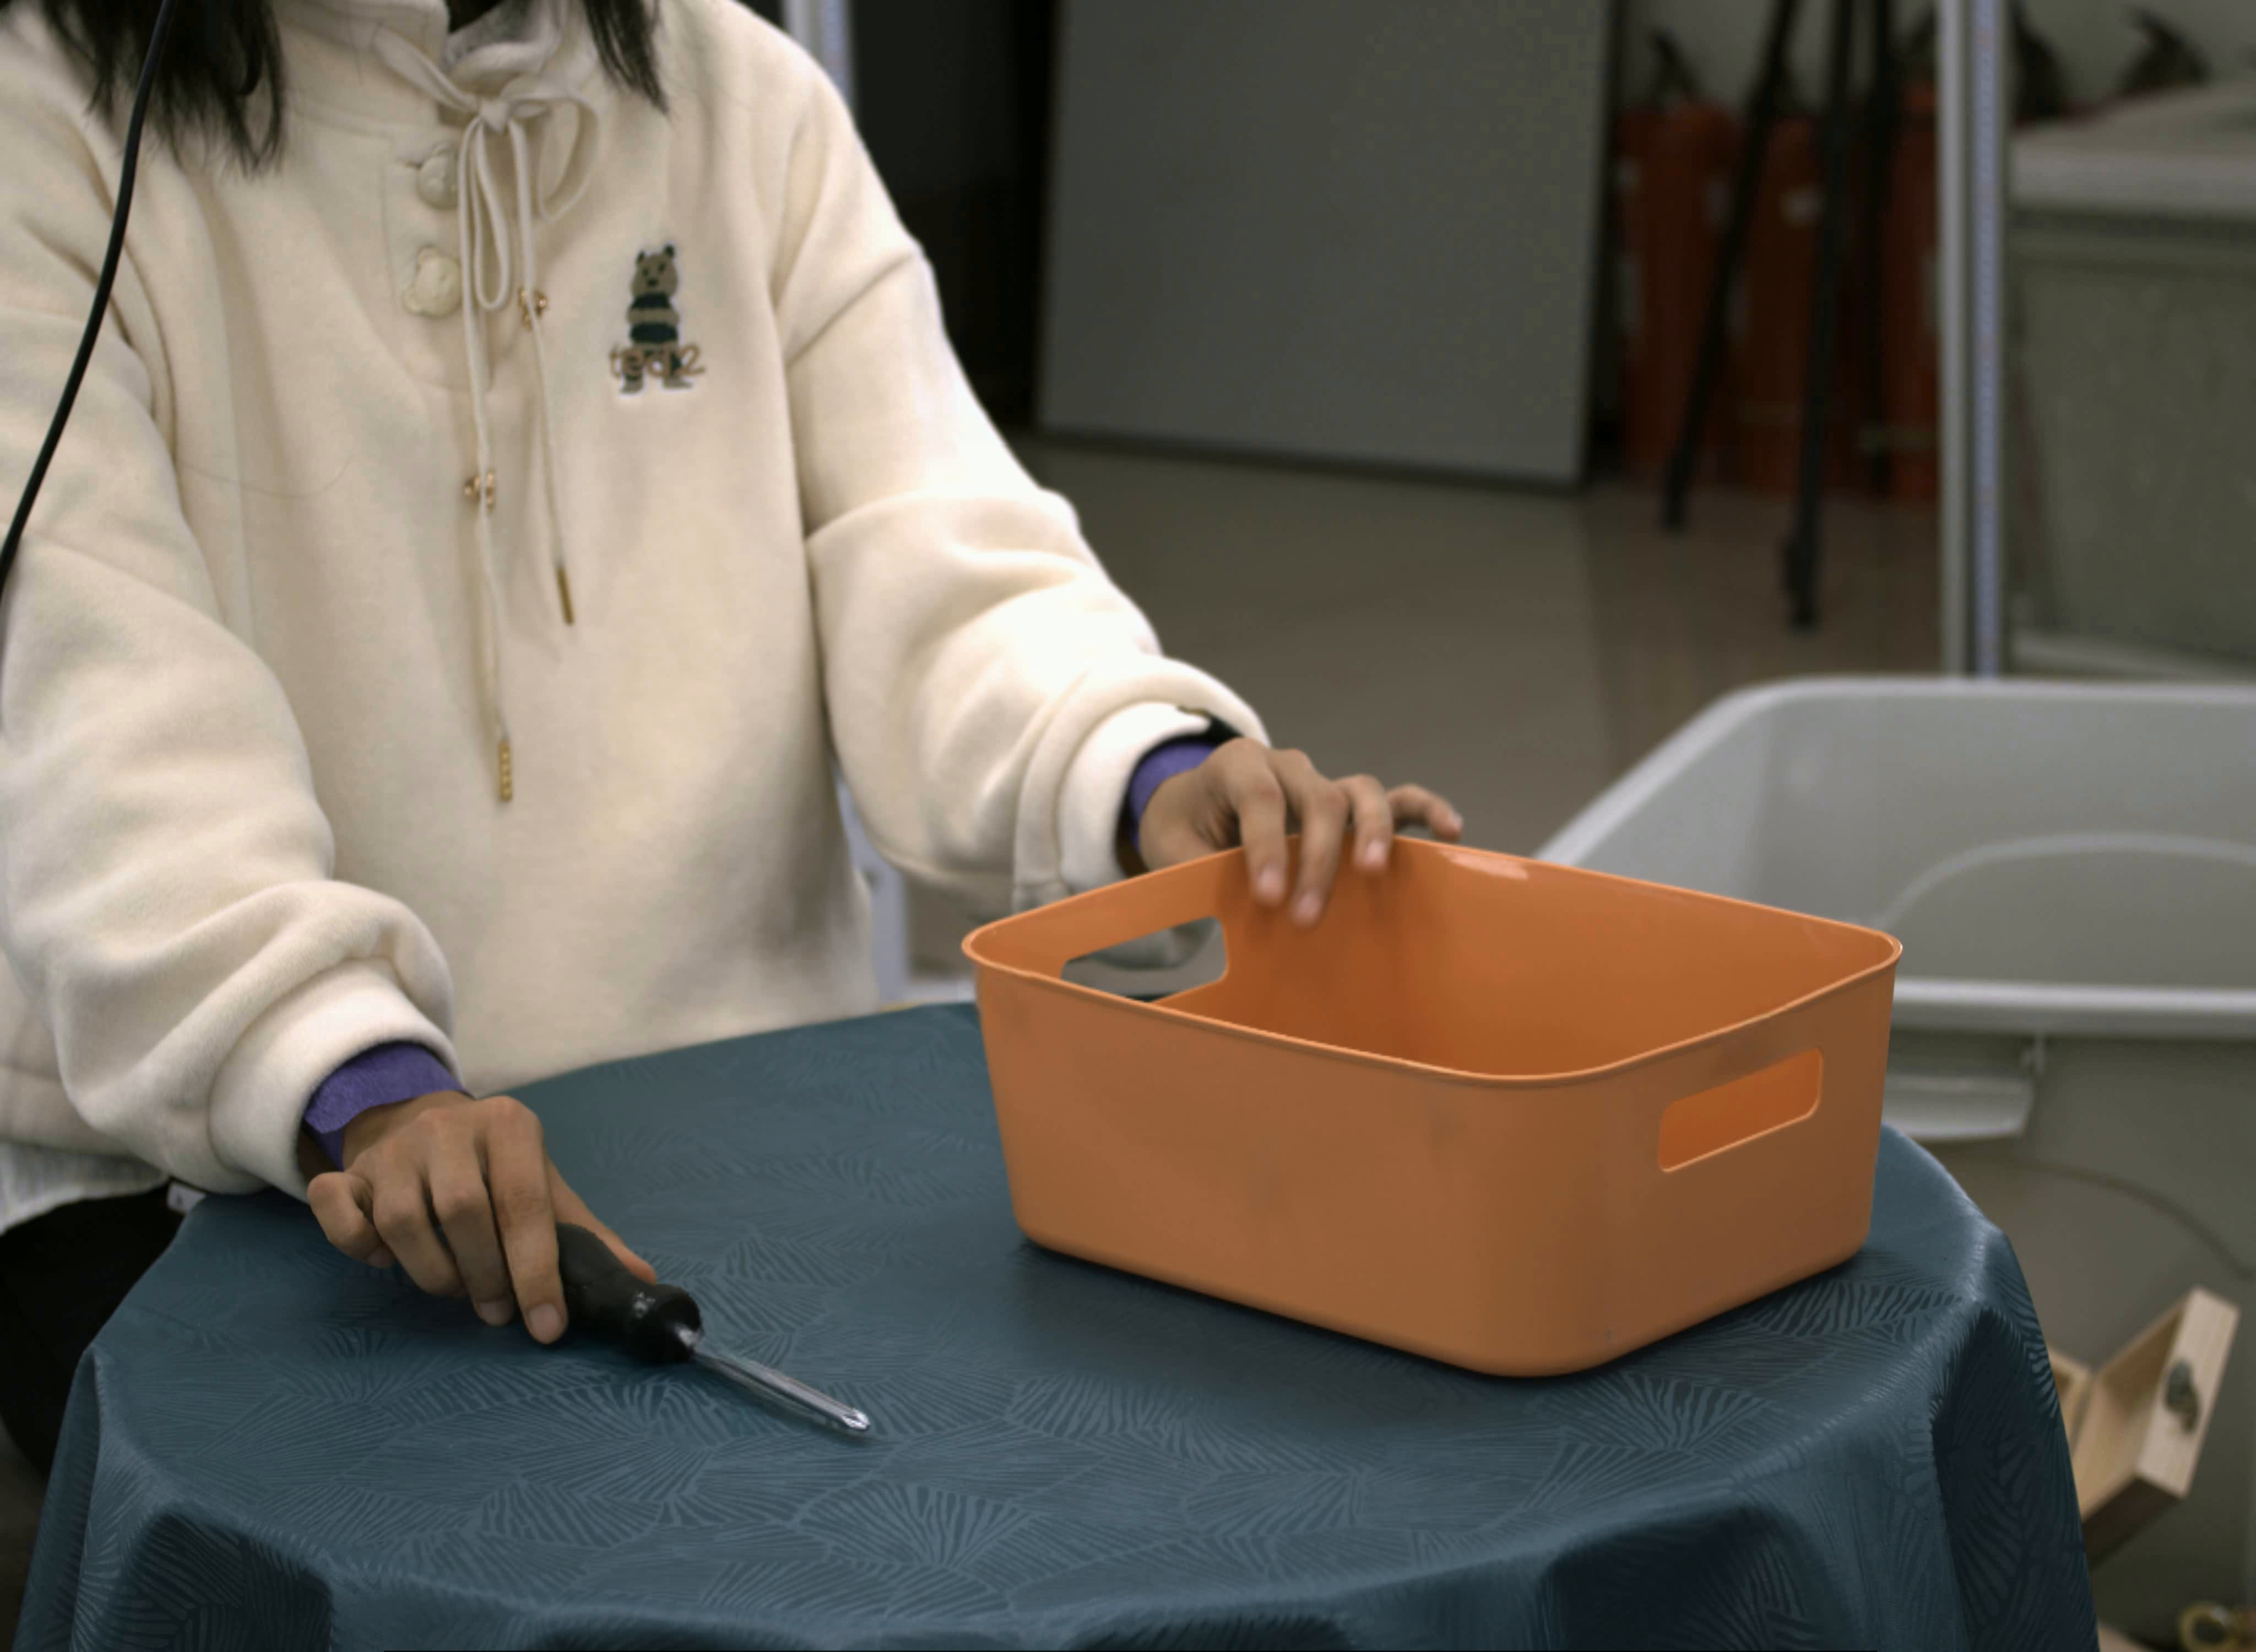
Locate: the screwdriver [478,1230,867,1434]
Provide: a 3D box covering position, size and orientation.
[{"bbox_3d":[-0.139,0.157,1.629,0.031,0.032,0.198,-13,20,-34],"label":"screwdriver"}]

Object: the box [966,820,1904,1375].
[{"bbox_3d":[0.096,0.081,1.681,0.195,0.103,0.276,-17,19,-41],"label":"box"}]
